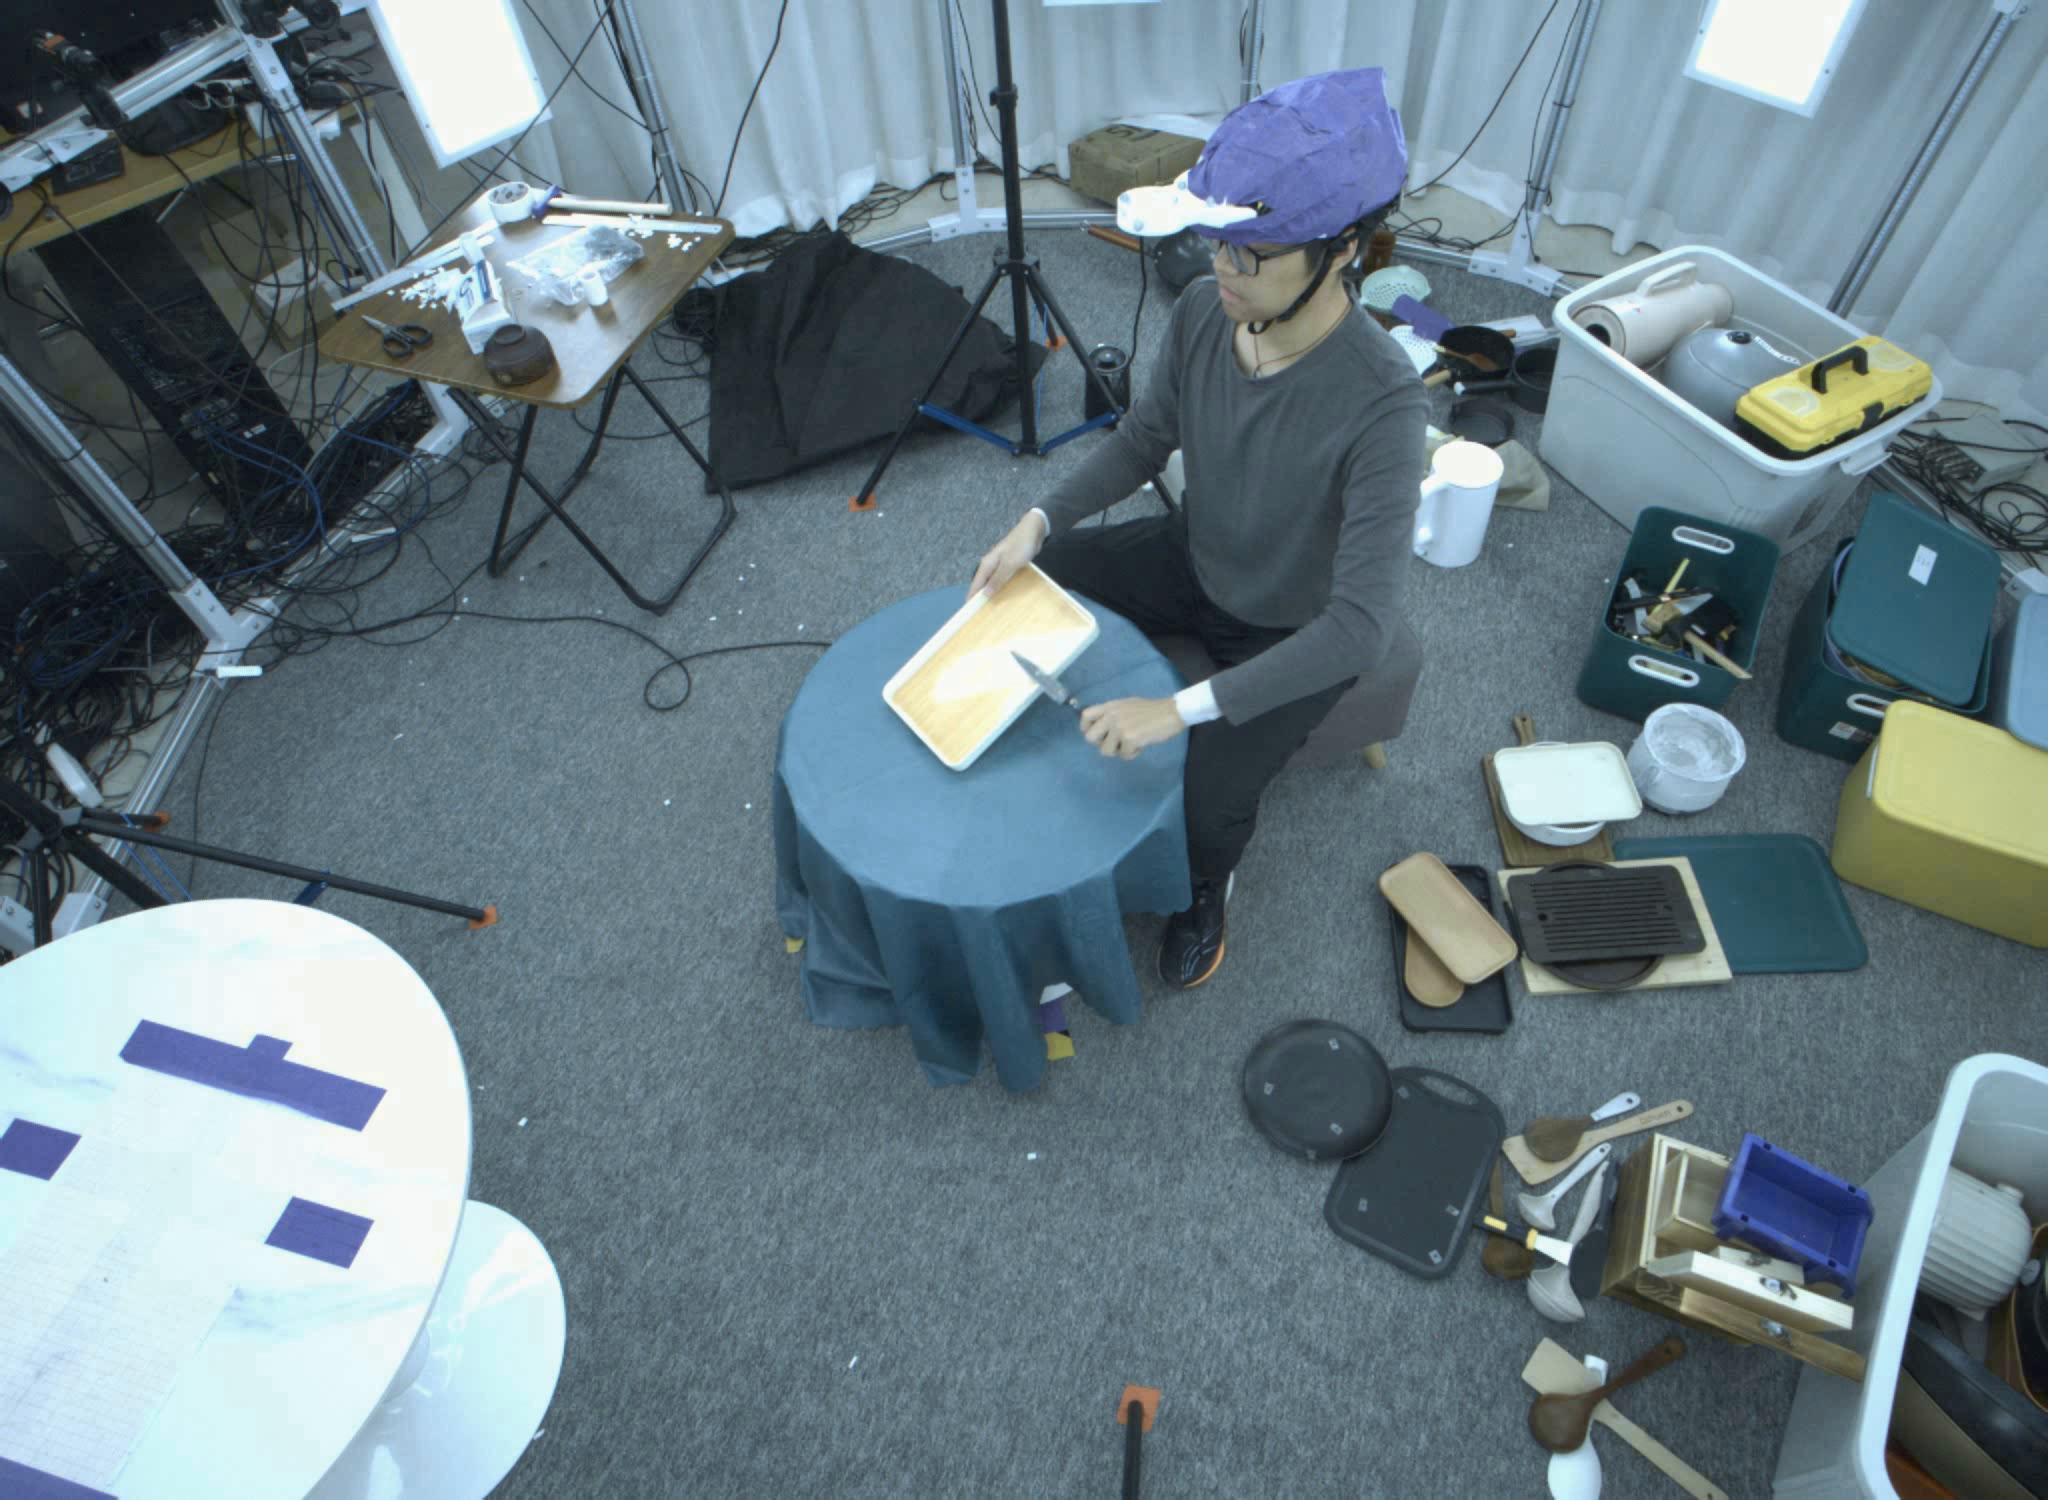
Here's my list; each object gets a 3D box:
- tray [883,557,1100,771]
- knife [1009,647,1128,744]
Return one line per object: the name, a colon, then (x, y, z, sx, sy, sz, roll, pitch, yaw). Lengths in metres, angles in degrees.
tray: (-0.050, -0.129, 1.806, 0.300, 0.028, 0.188, -45, 63, -1)
knife: (0.061, -0.083, 1.734, 0.234, 0.016, 0.024, 40, 93, 25)
